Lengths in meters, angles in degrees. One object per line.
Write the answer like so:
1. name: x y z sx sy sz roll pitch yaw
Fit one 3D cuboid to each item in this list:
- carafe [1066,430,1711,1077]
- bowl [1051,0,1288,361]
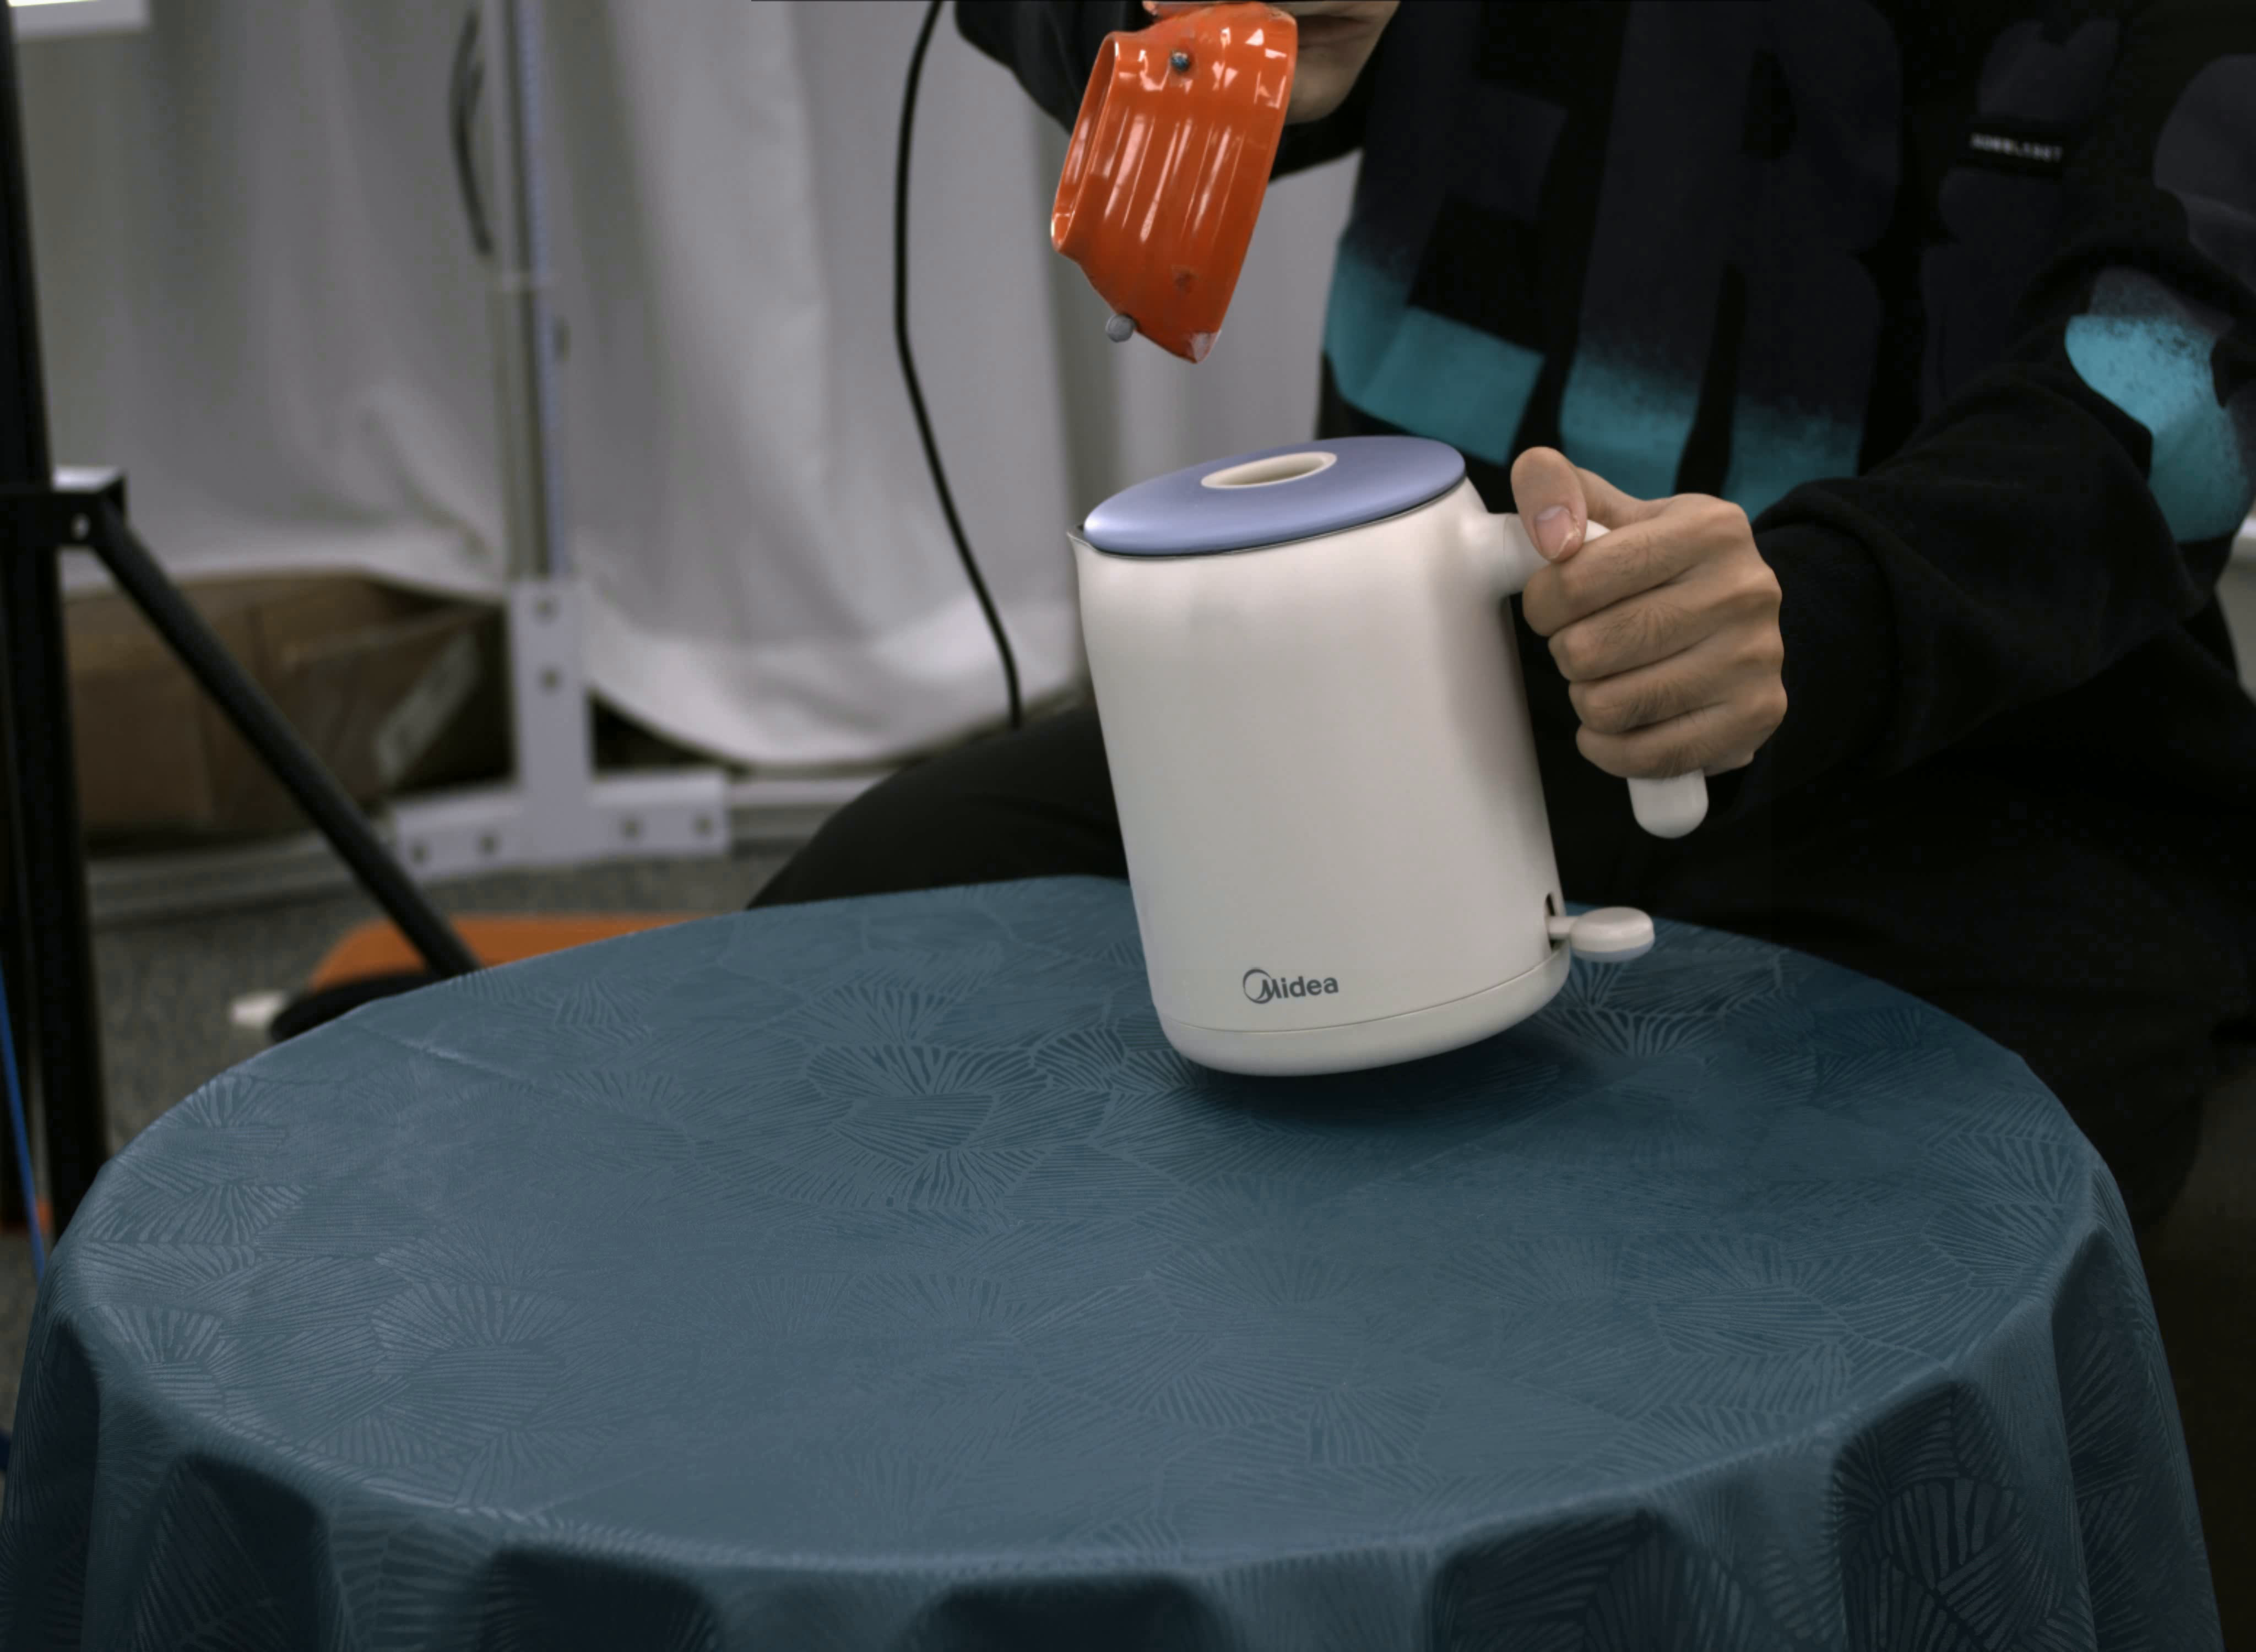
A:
1. carafe: 0.082 -0.024 1.628 0.193 0.182 0.131 -3 16 21
2. bowl: 0.009 -0.200 1.602 0.051 0.119 0.119 13 15 -5
